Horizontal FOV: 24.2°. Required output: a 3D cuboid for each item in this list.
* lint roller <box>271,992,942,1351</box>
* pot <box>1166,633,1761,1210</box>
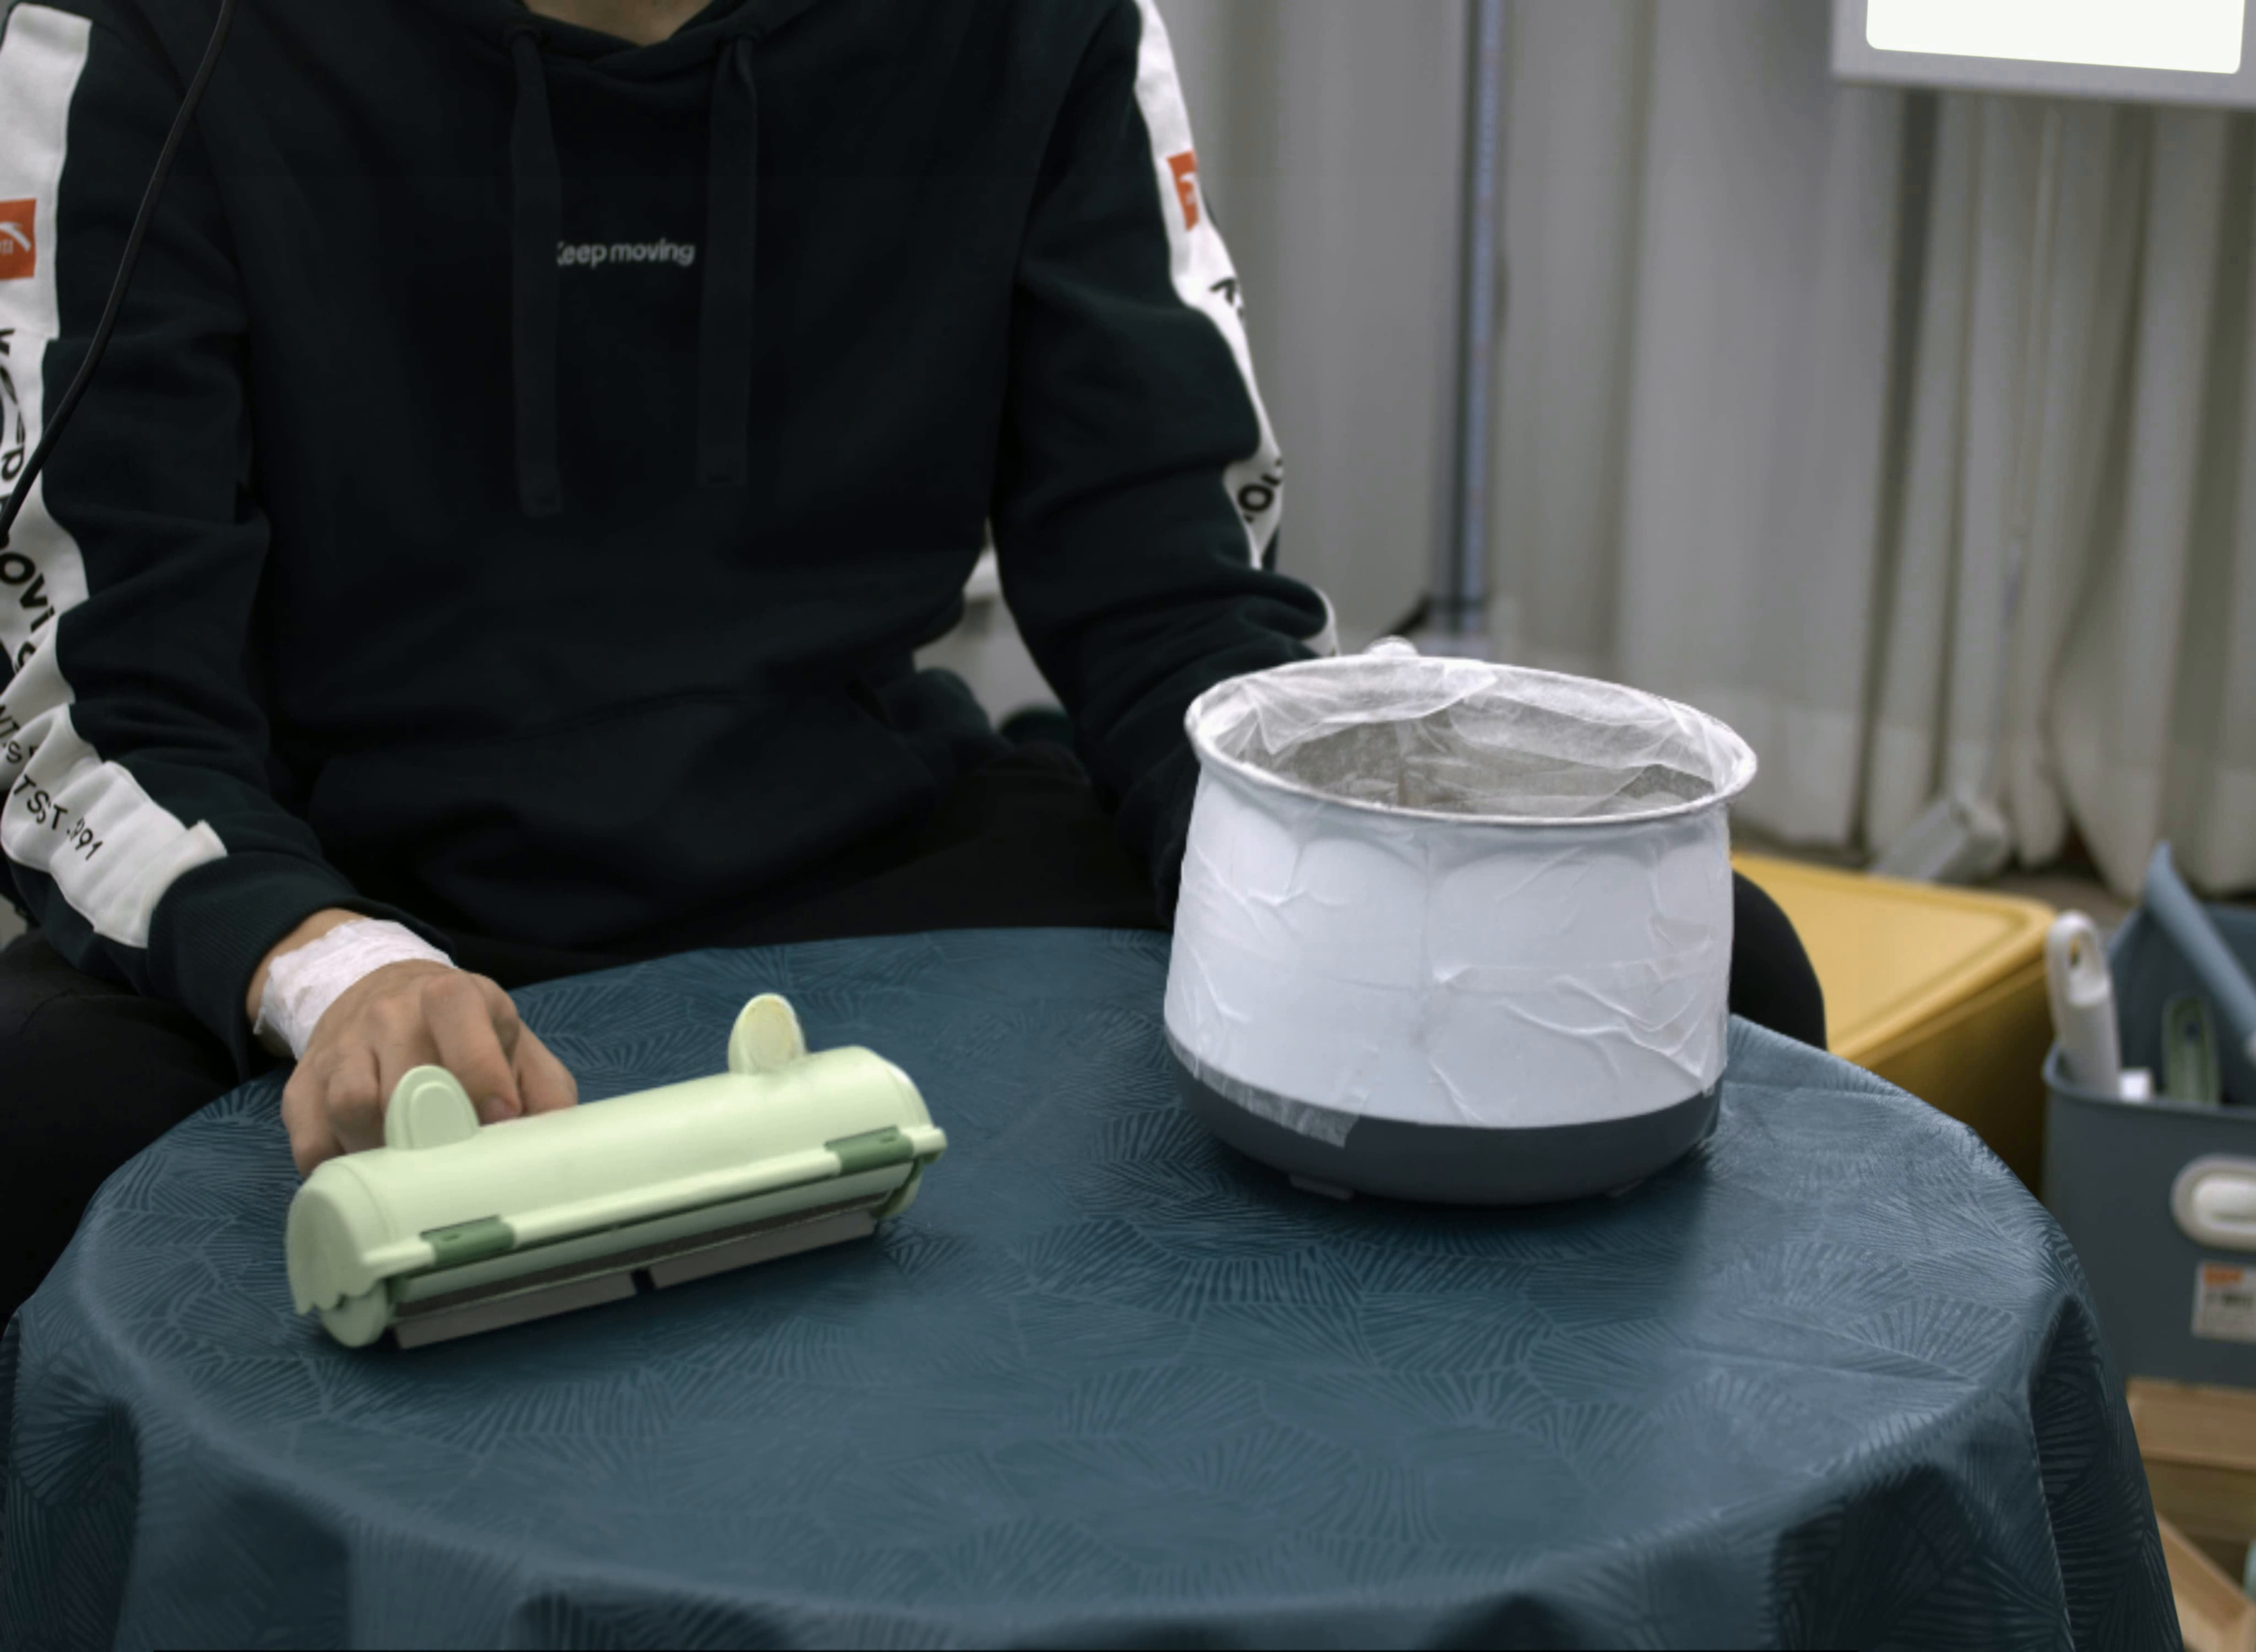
[{"bbox_3d":[-0.182,0.085,1.566,0.199,0.083,0.181,-11,24,-35],"label":"lint roller"},{"bbox_3d":[0.096,0.025,1.661,0.179,0.138,0.231,0,18,-13],"label":"pot"}]
